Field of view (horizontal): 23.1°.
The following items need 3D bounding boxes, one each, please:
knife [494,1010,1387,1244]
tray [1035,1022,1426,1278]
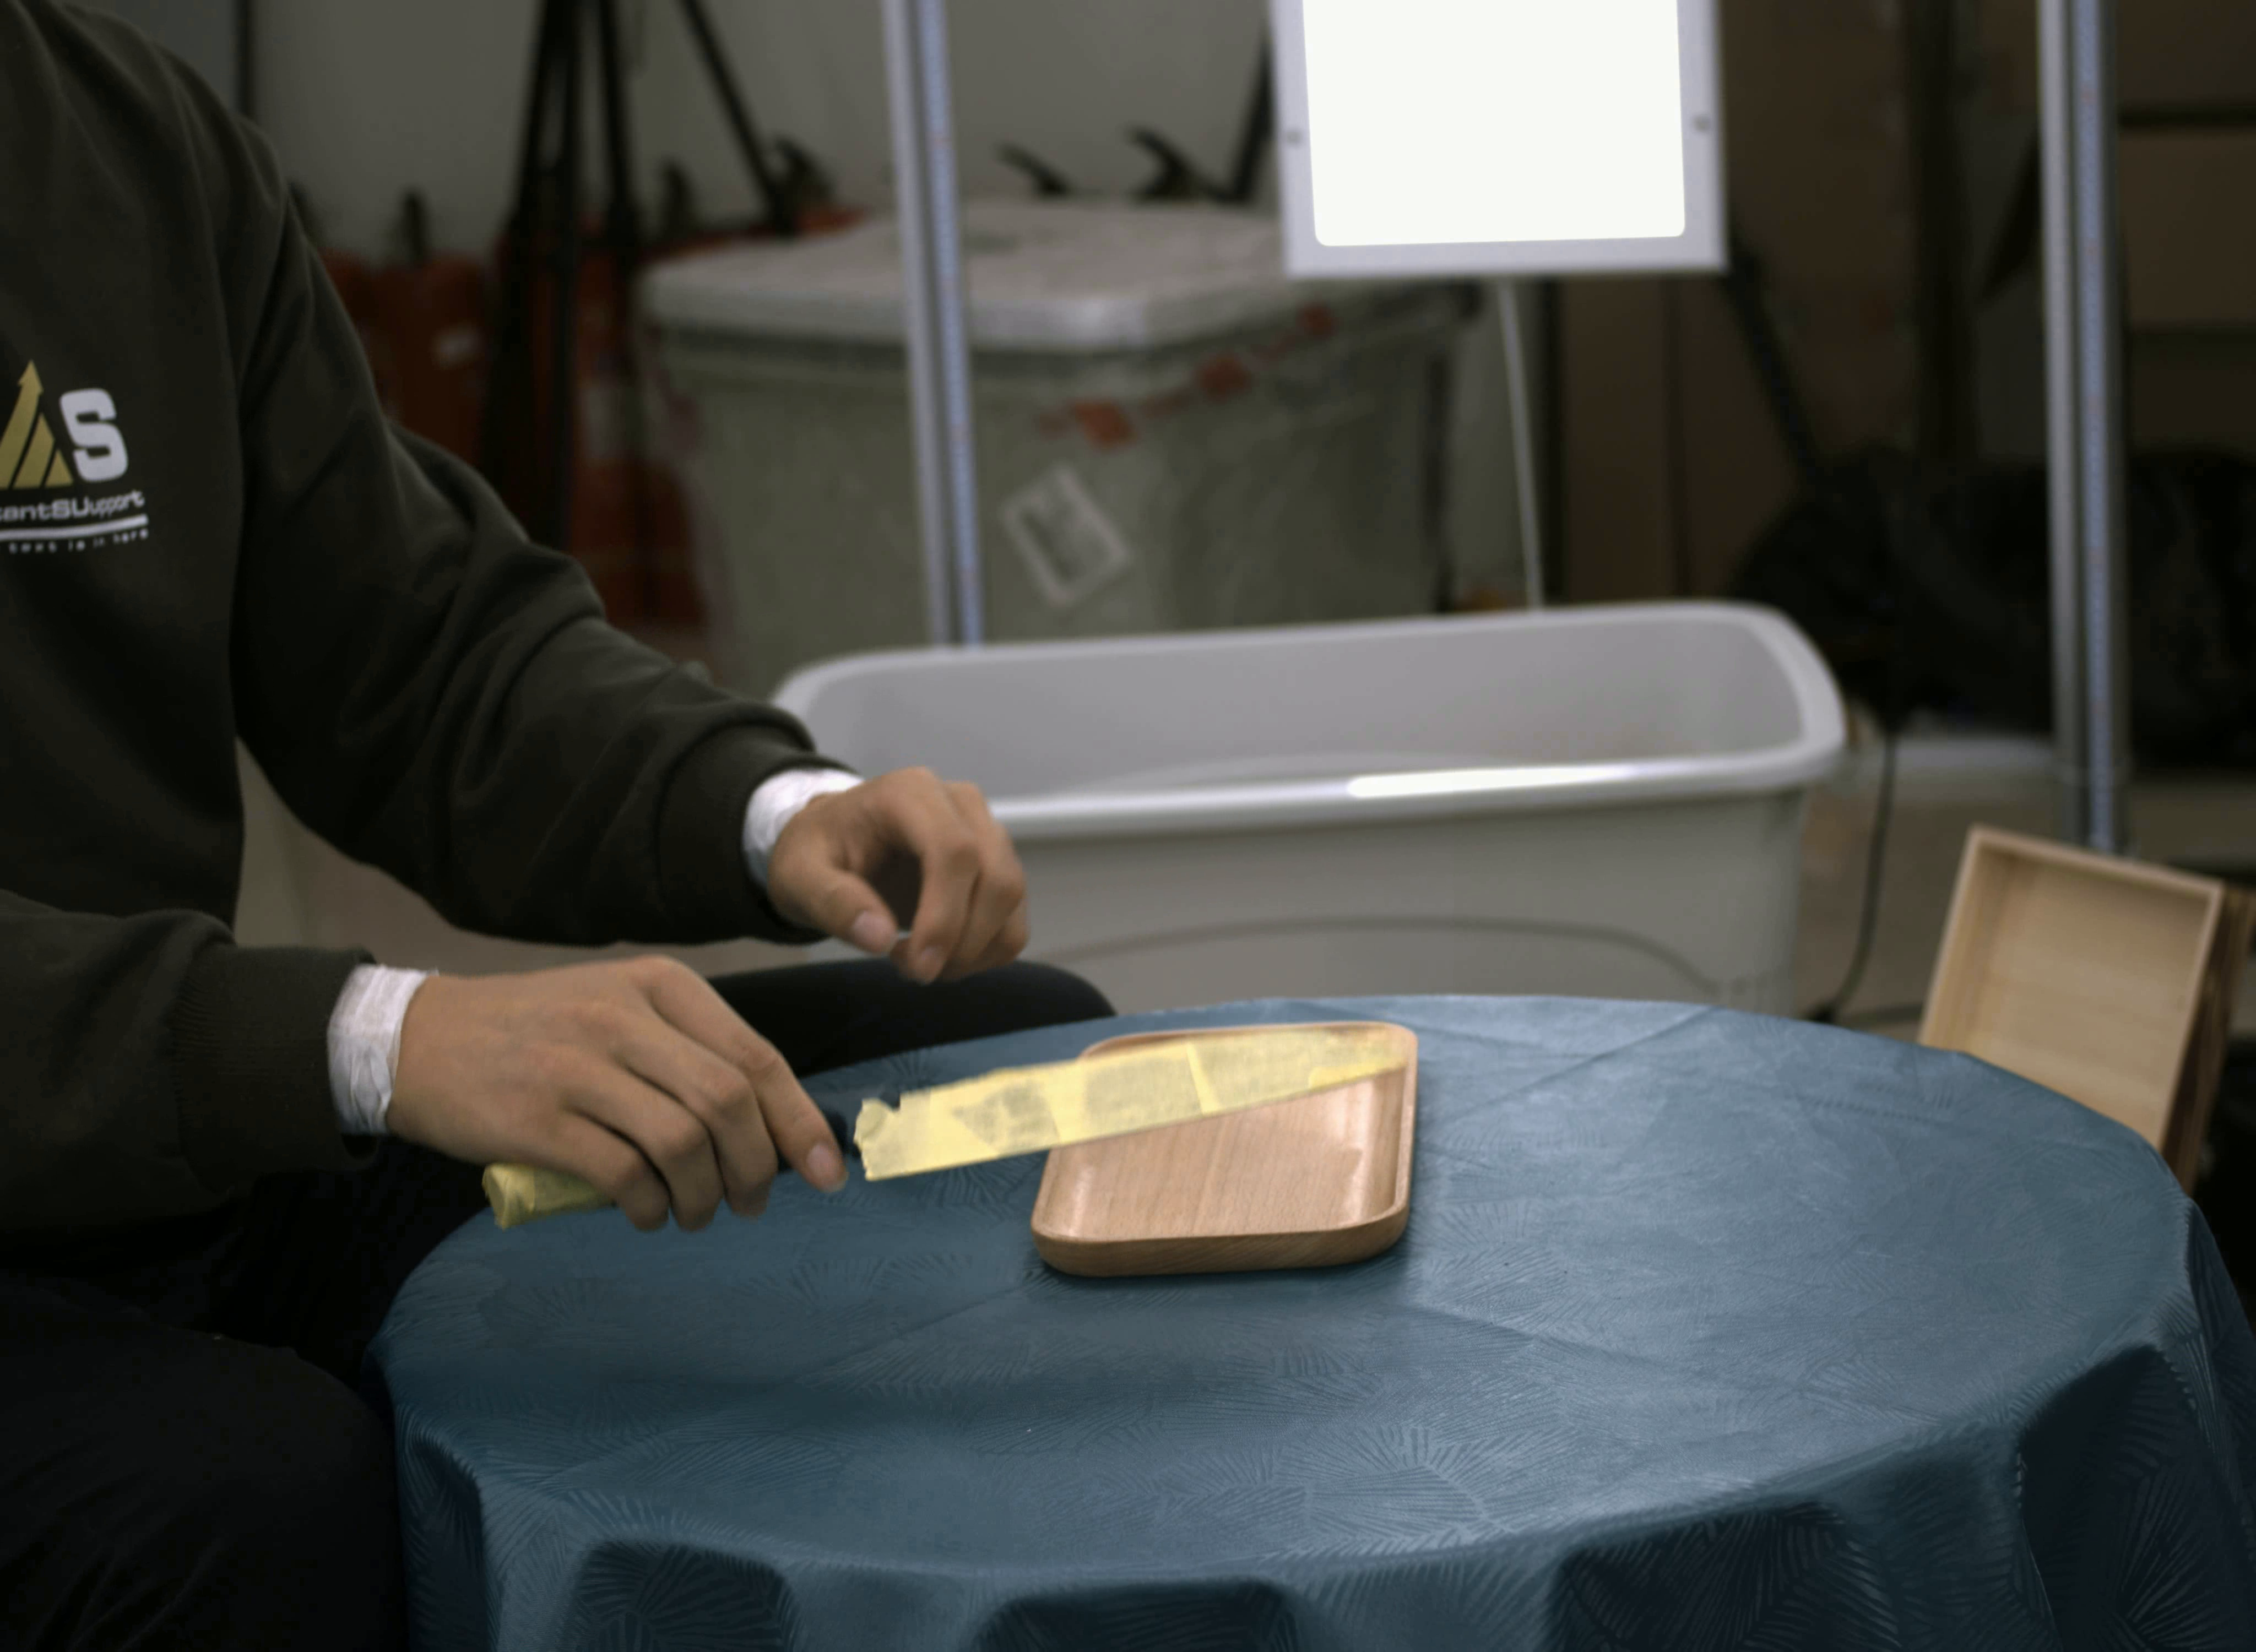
[{"bbox_3d":[-0.059,0.094,1.731,0.290,0.027,0.081,-13,15,4],"label":"knife"},{"bbox_3d":[0.040,0.111,1.919,0.131,0.023,0.249,-6,14,7],"label":"tray"}]
